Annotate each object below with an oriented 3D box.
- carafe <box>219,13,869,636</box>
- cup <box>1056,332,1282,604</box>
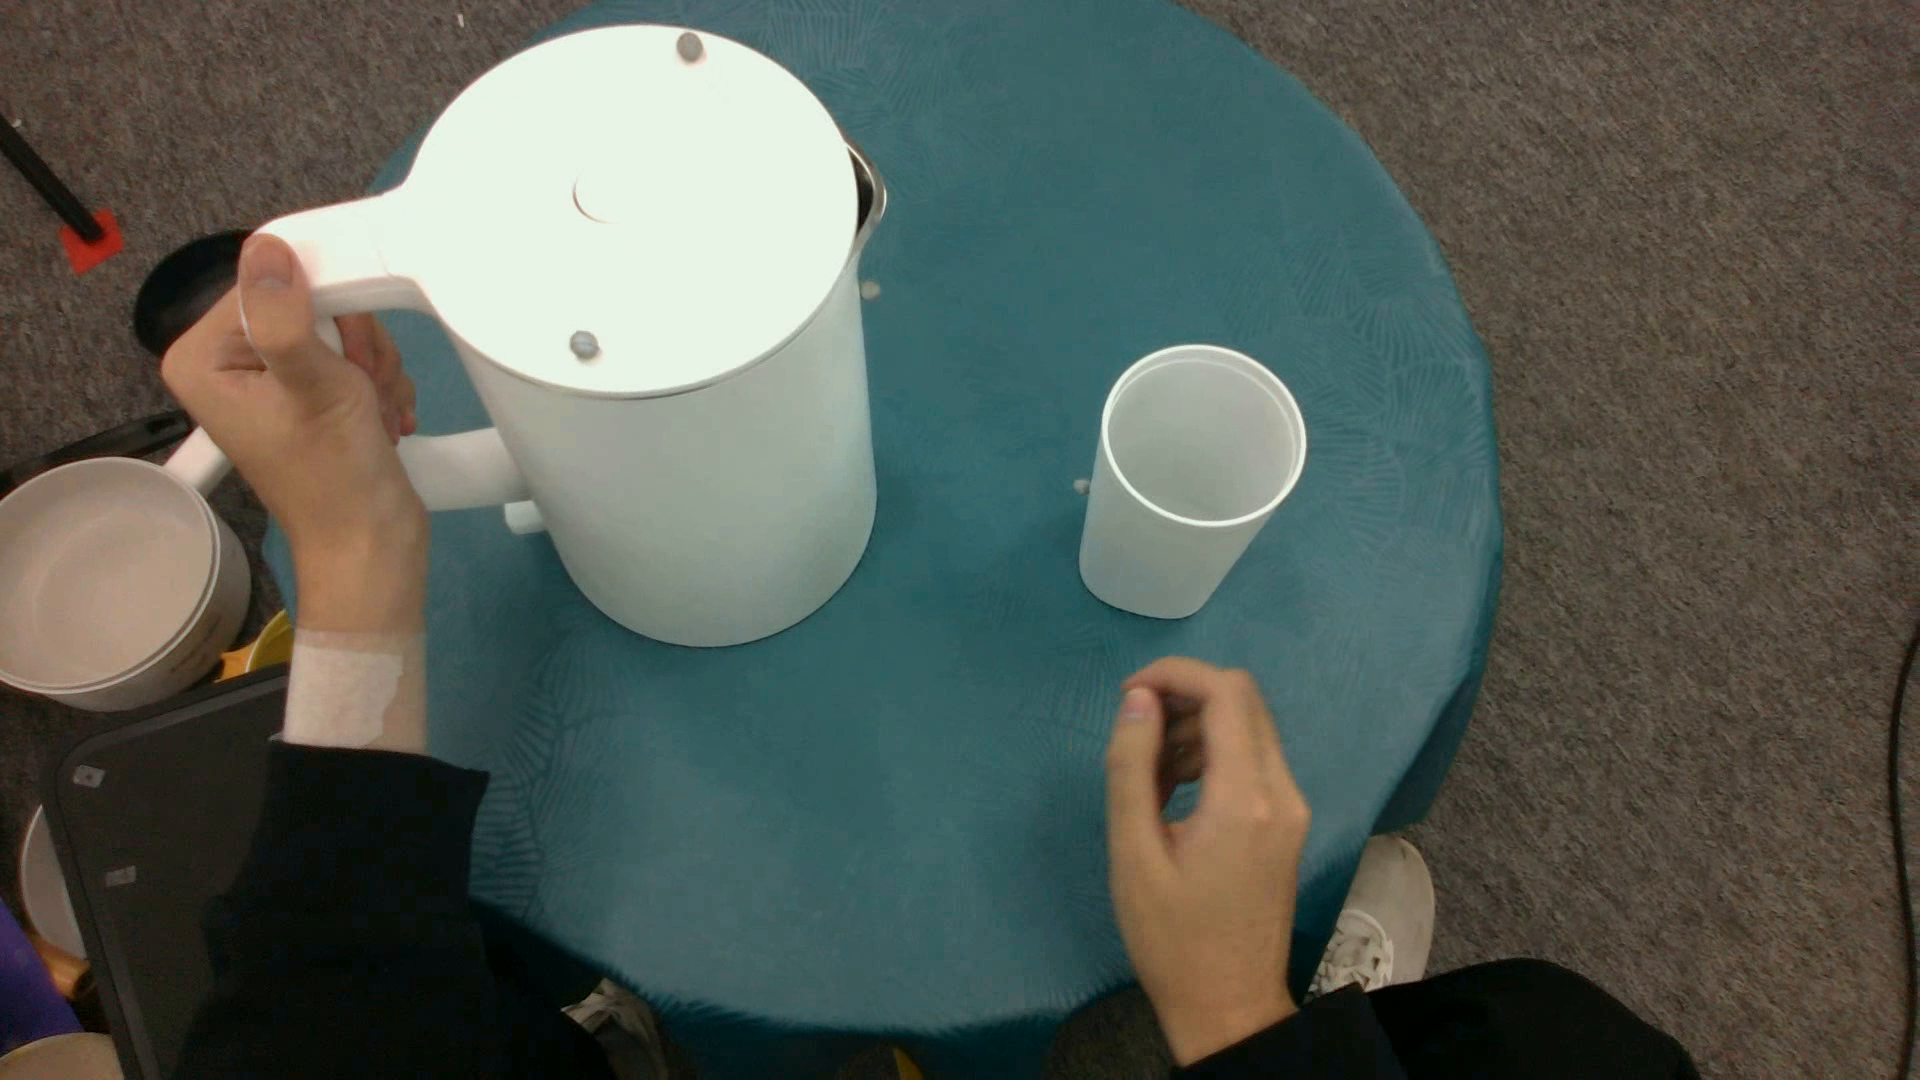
[{"bbox_3d":[-0.144,-0.067,0.544,0.213,0.239,0.152,-10,67,-10],"label":"carafe"},{"bbox_3d":[0.083,-0.025,0.602,0.082,0.125,0.082,1,68,-3],"label":"cup"}]
